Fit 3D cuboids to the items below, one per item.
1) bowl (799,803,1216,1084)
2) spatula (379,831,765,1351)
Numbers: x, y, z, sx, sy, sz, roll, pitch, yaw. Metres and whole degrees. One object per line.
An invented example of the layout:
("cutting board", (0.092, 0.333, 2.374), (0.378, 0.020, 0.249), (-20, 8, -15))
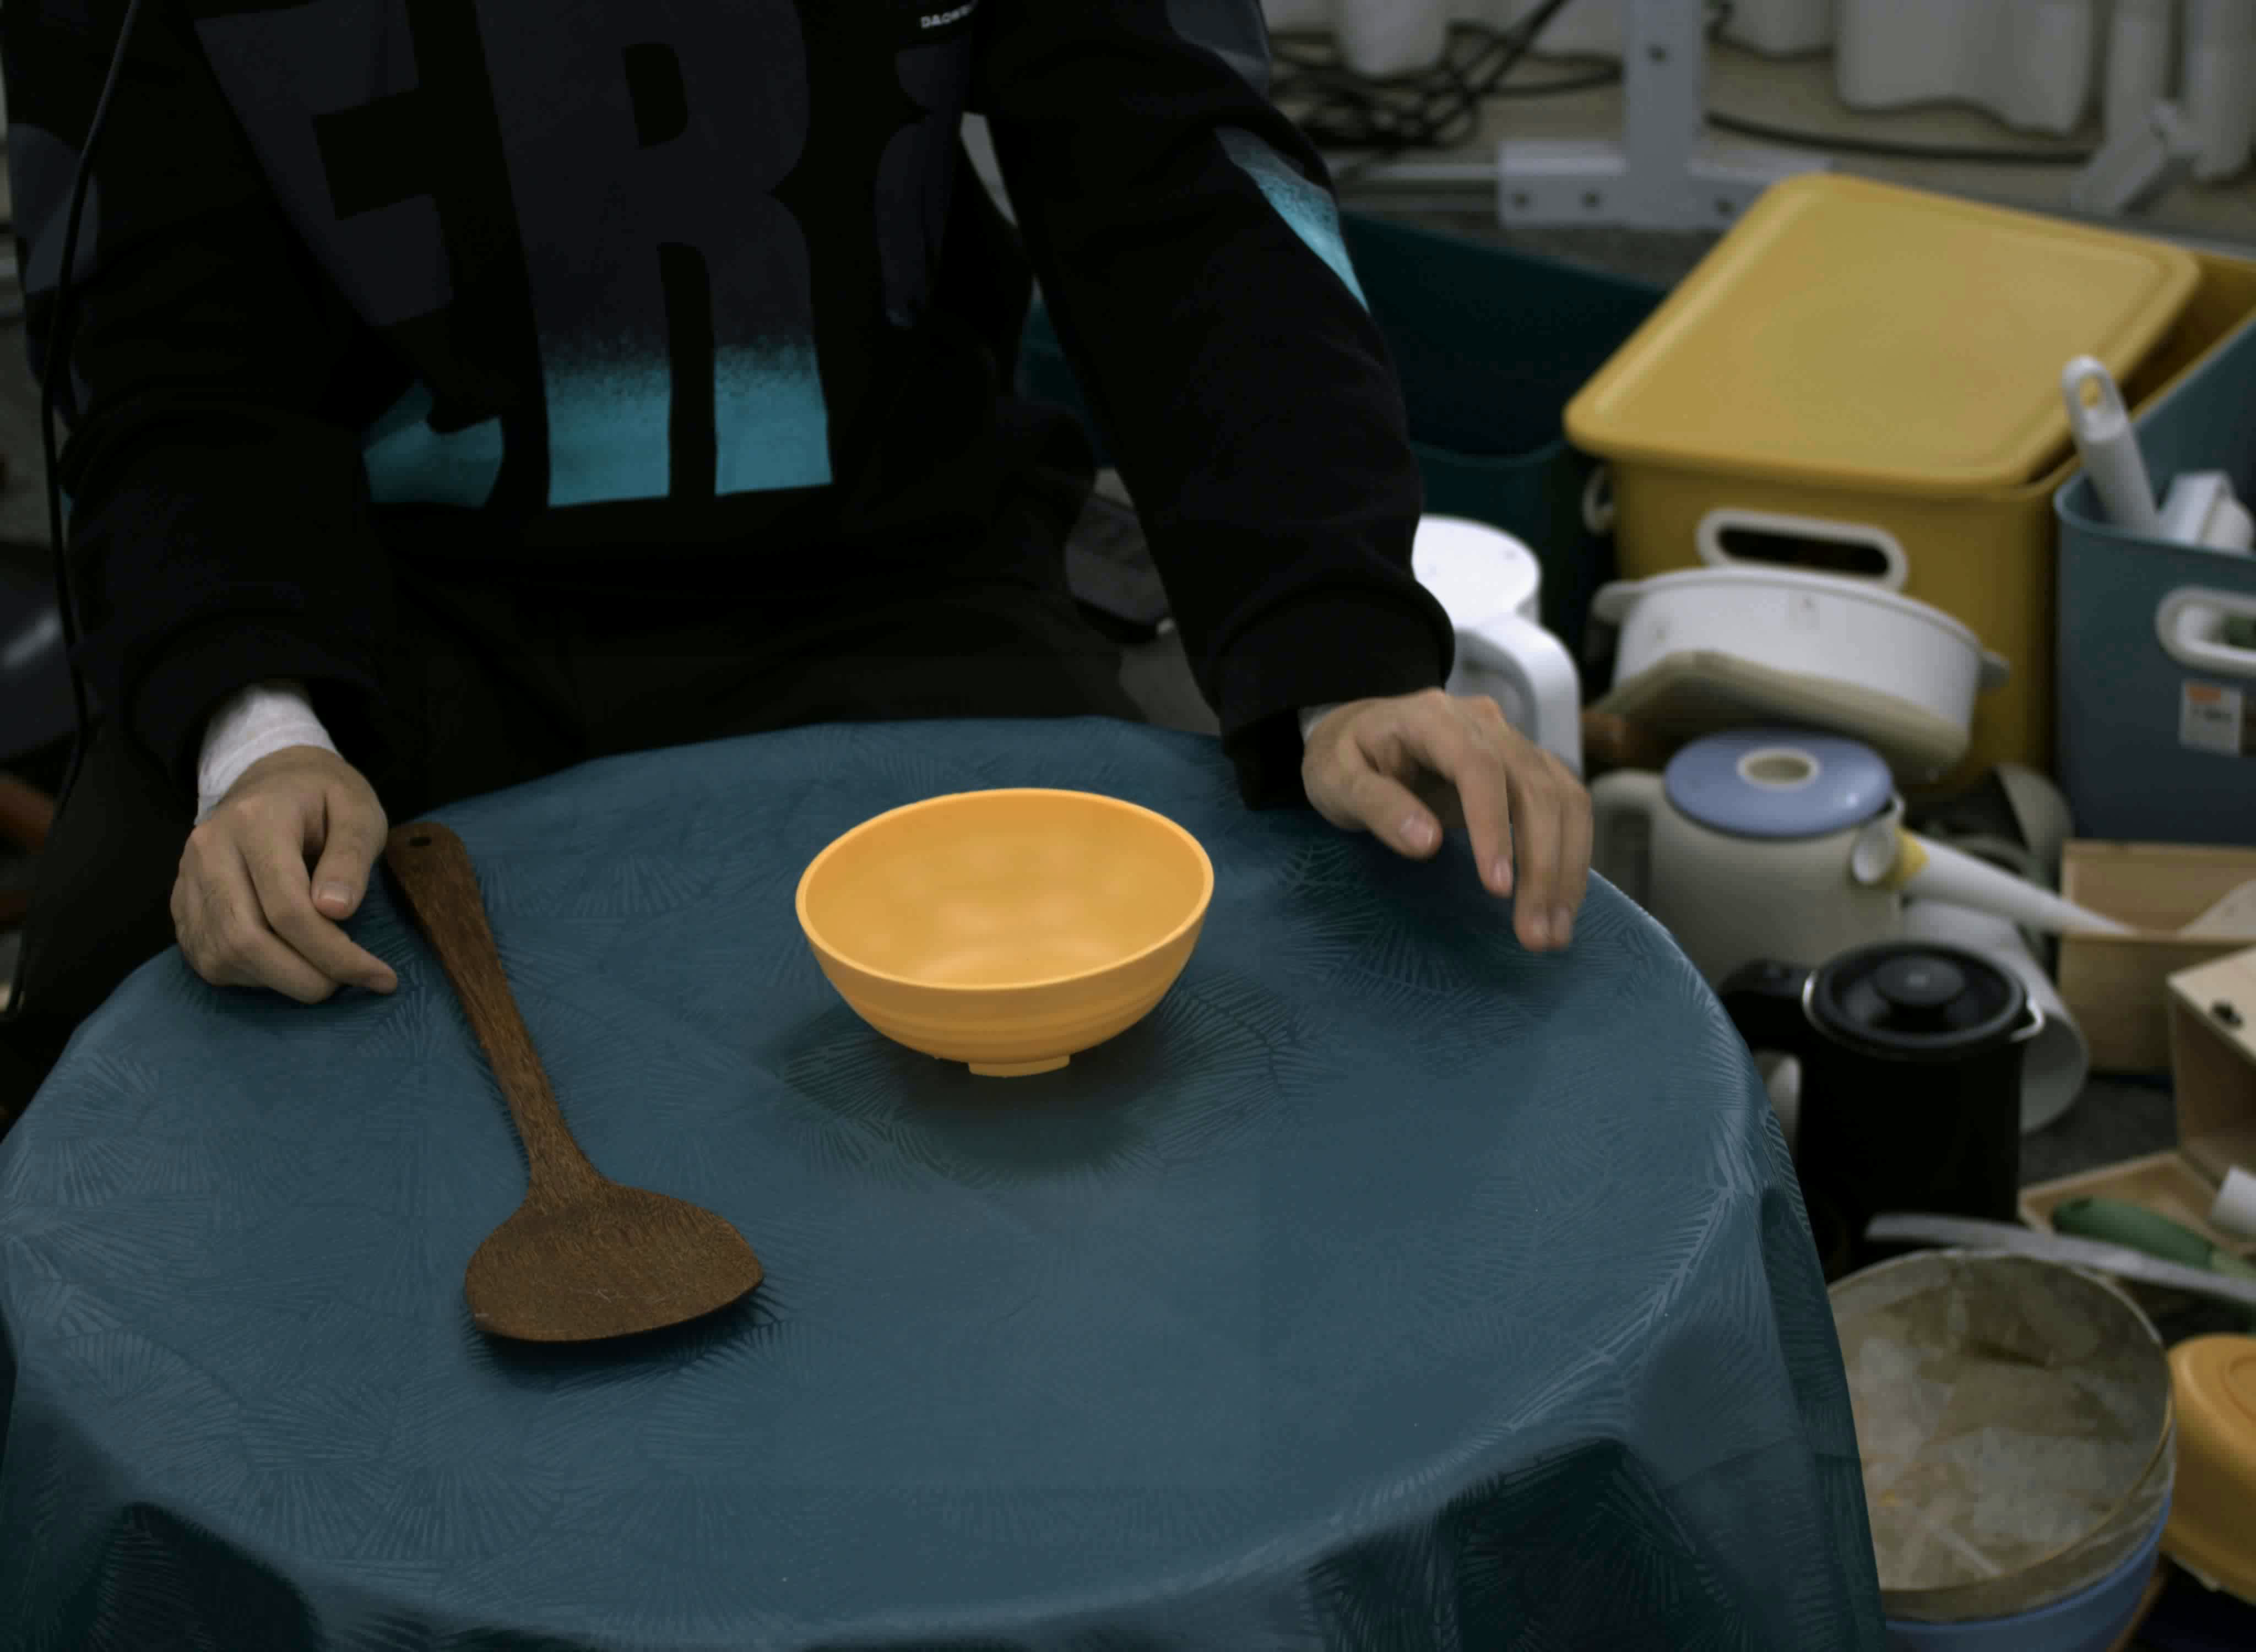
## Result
("bowl", (-0.040, 0.049, 1.948), (0.144, 0.059, 0.147), (-2, 25, 1))
("spatula", (-0.212, 0.083, 1.943), (0.096, 0.015, 0.389), (-10, 28, -14))
